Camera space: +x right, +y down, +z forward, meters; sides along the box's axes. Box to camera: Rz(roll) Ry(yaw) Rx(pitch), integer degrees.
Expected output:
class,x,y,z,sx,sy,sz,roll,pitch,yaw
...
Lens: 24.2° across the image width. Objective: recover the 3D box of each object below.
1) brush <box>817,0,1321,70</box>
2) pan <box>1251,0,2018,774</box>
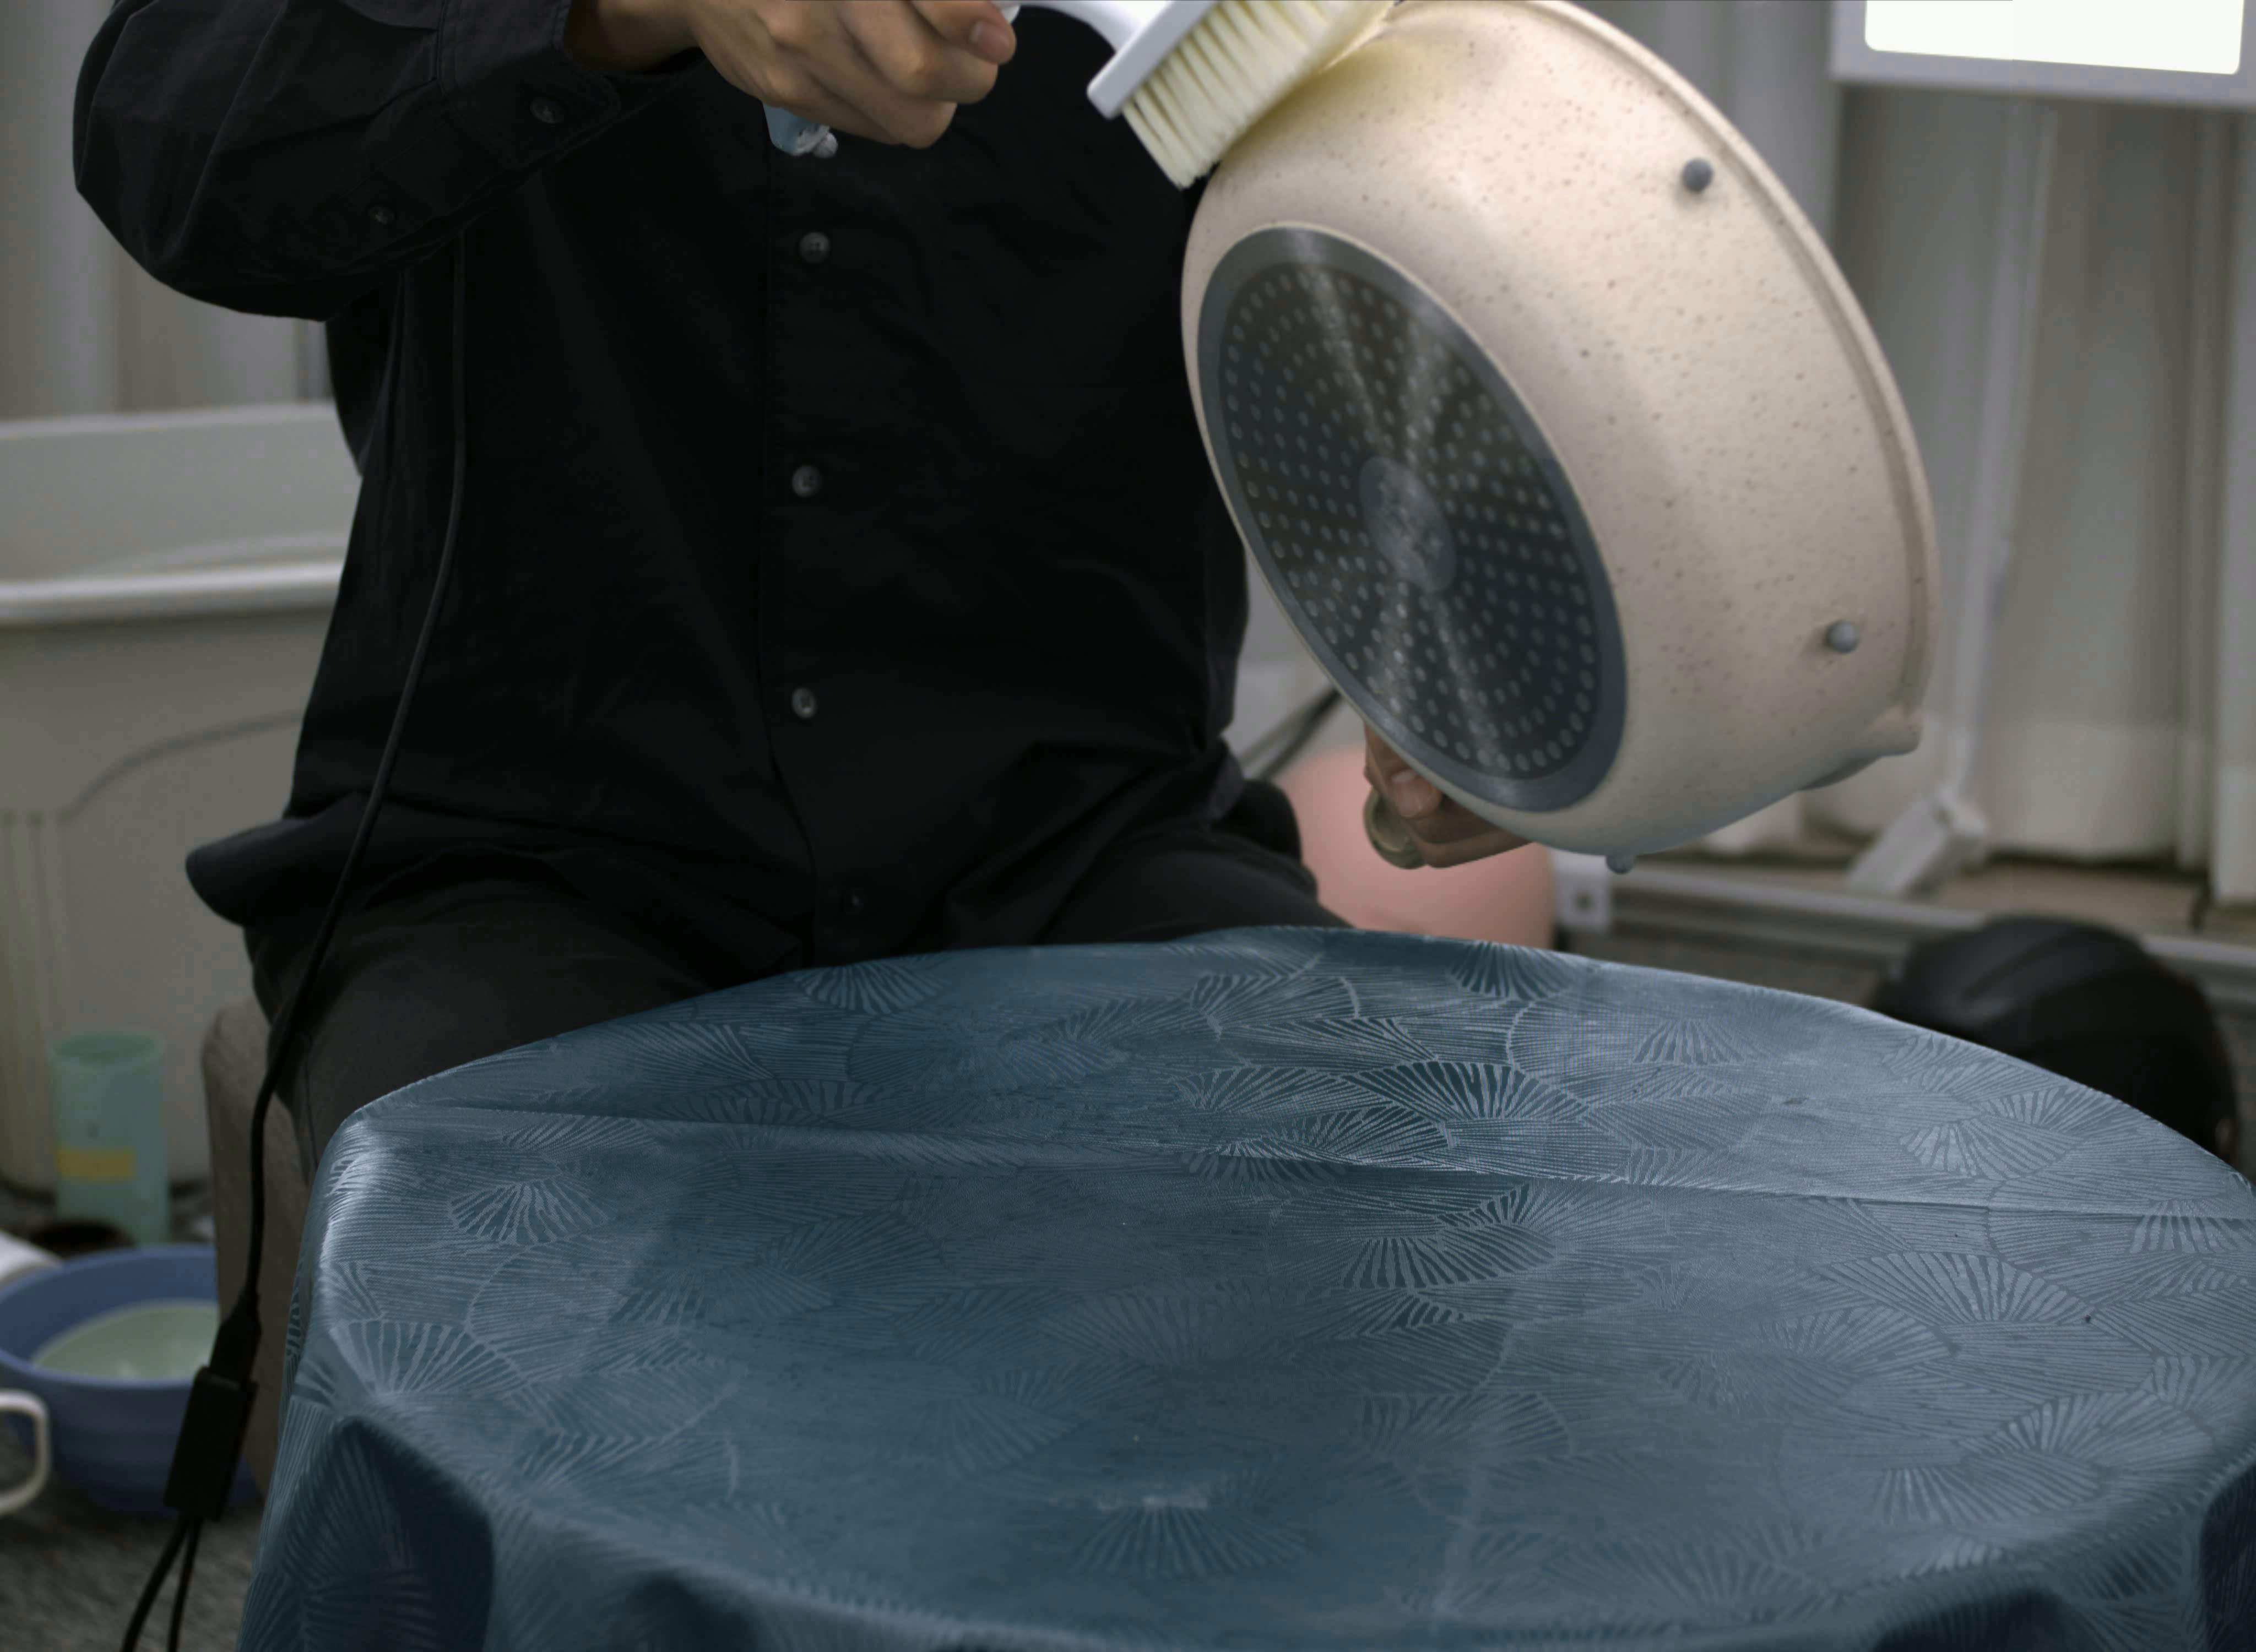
class,x,y,z,sx,sy,sz,roll,pitch,yaw
brush,0.009,-0.246,1.526,0.083,0.084,0.323,2,-8,-29
pan,0.117,-0.096,1.568,0.102,0.437,0.262,-34,77,-25
